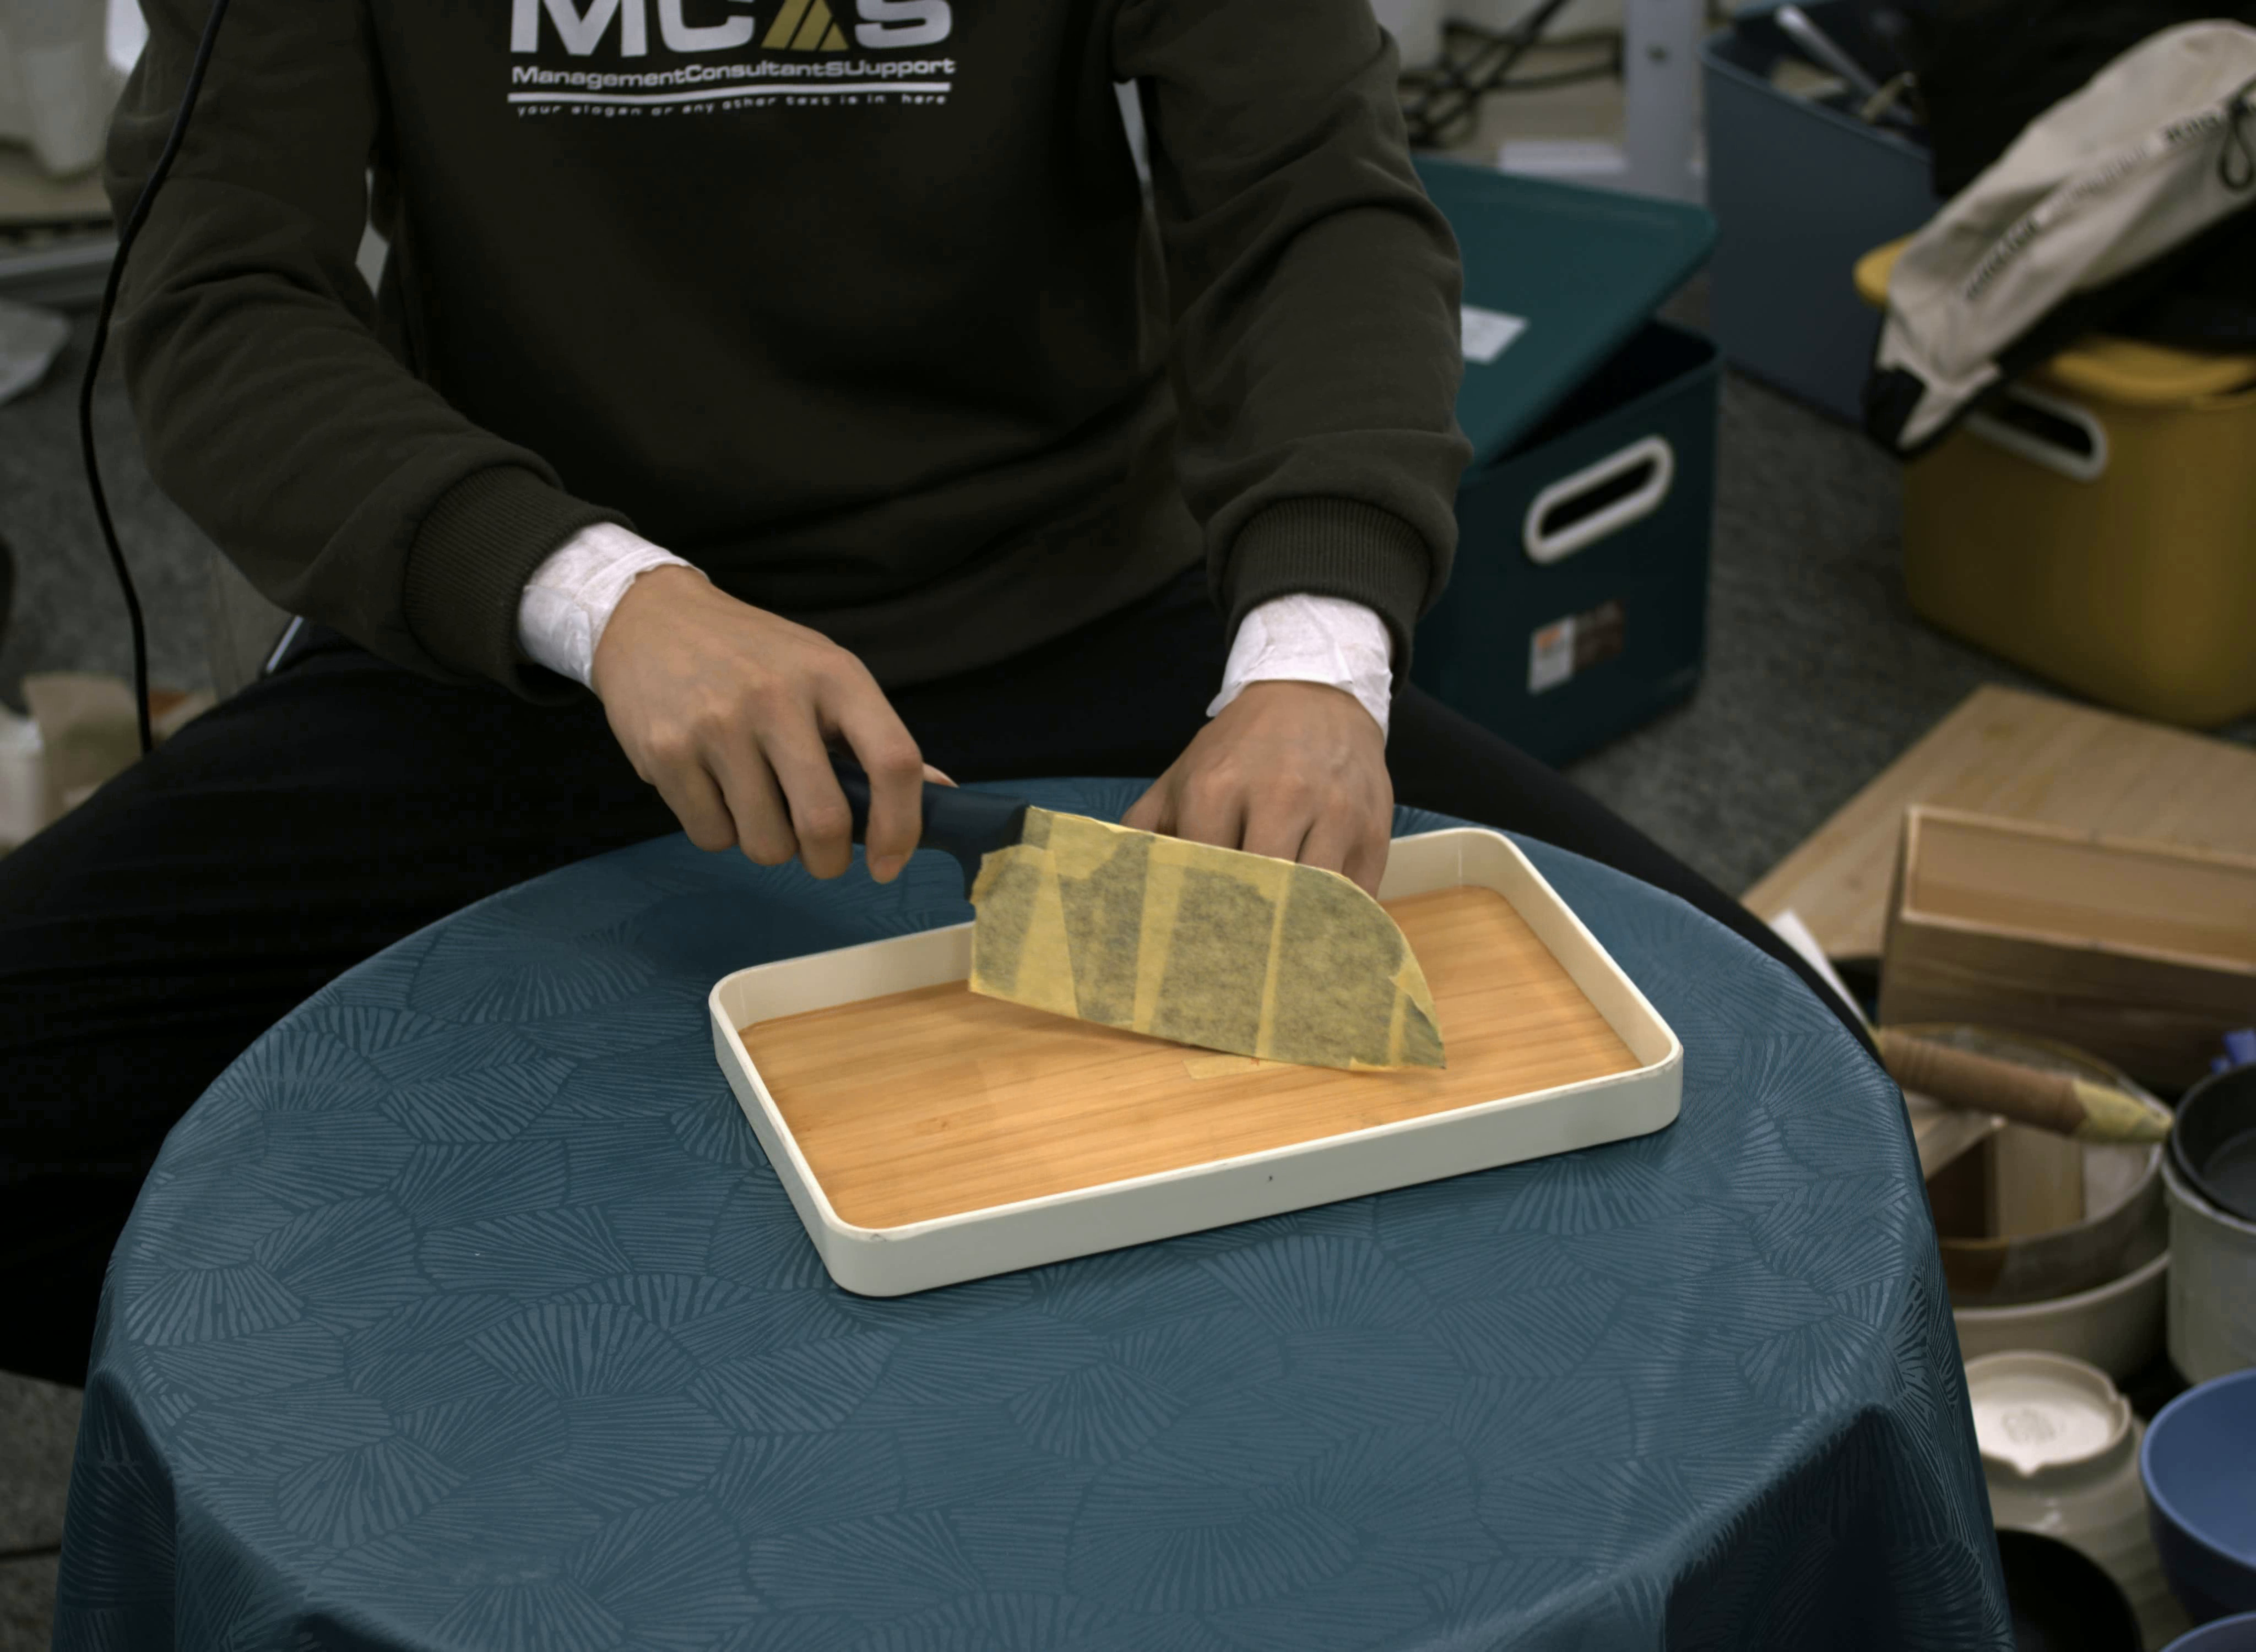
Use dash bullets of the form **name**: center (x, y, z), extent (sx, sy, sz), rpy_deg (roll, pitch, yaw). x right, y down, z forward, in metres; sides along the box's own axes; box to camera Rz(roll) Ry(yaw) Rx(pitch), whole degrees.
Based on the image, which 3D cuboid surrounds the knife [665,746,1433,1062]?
- **knife**: center (-0.029, 0.026, 1.937), extent (0.288, 0.080, 0.027), rpy_deg (15, 15, 16)

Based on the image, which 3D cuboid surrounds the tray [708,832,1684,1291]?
- **tray**: center (0.021, 0.077, 1.918), extent (0.300, 0.027, 0.193), rpy_deg (-10, 27, -15)
